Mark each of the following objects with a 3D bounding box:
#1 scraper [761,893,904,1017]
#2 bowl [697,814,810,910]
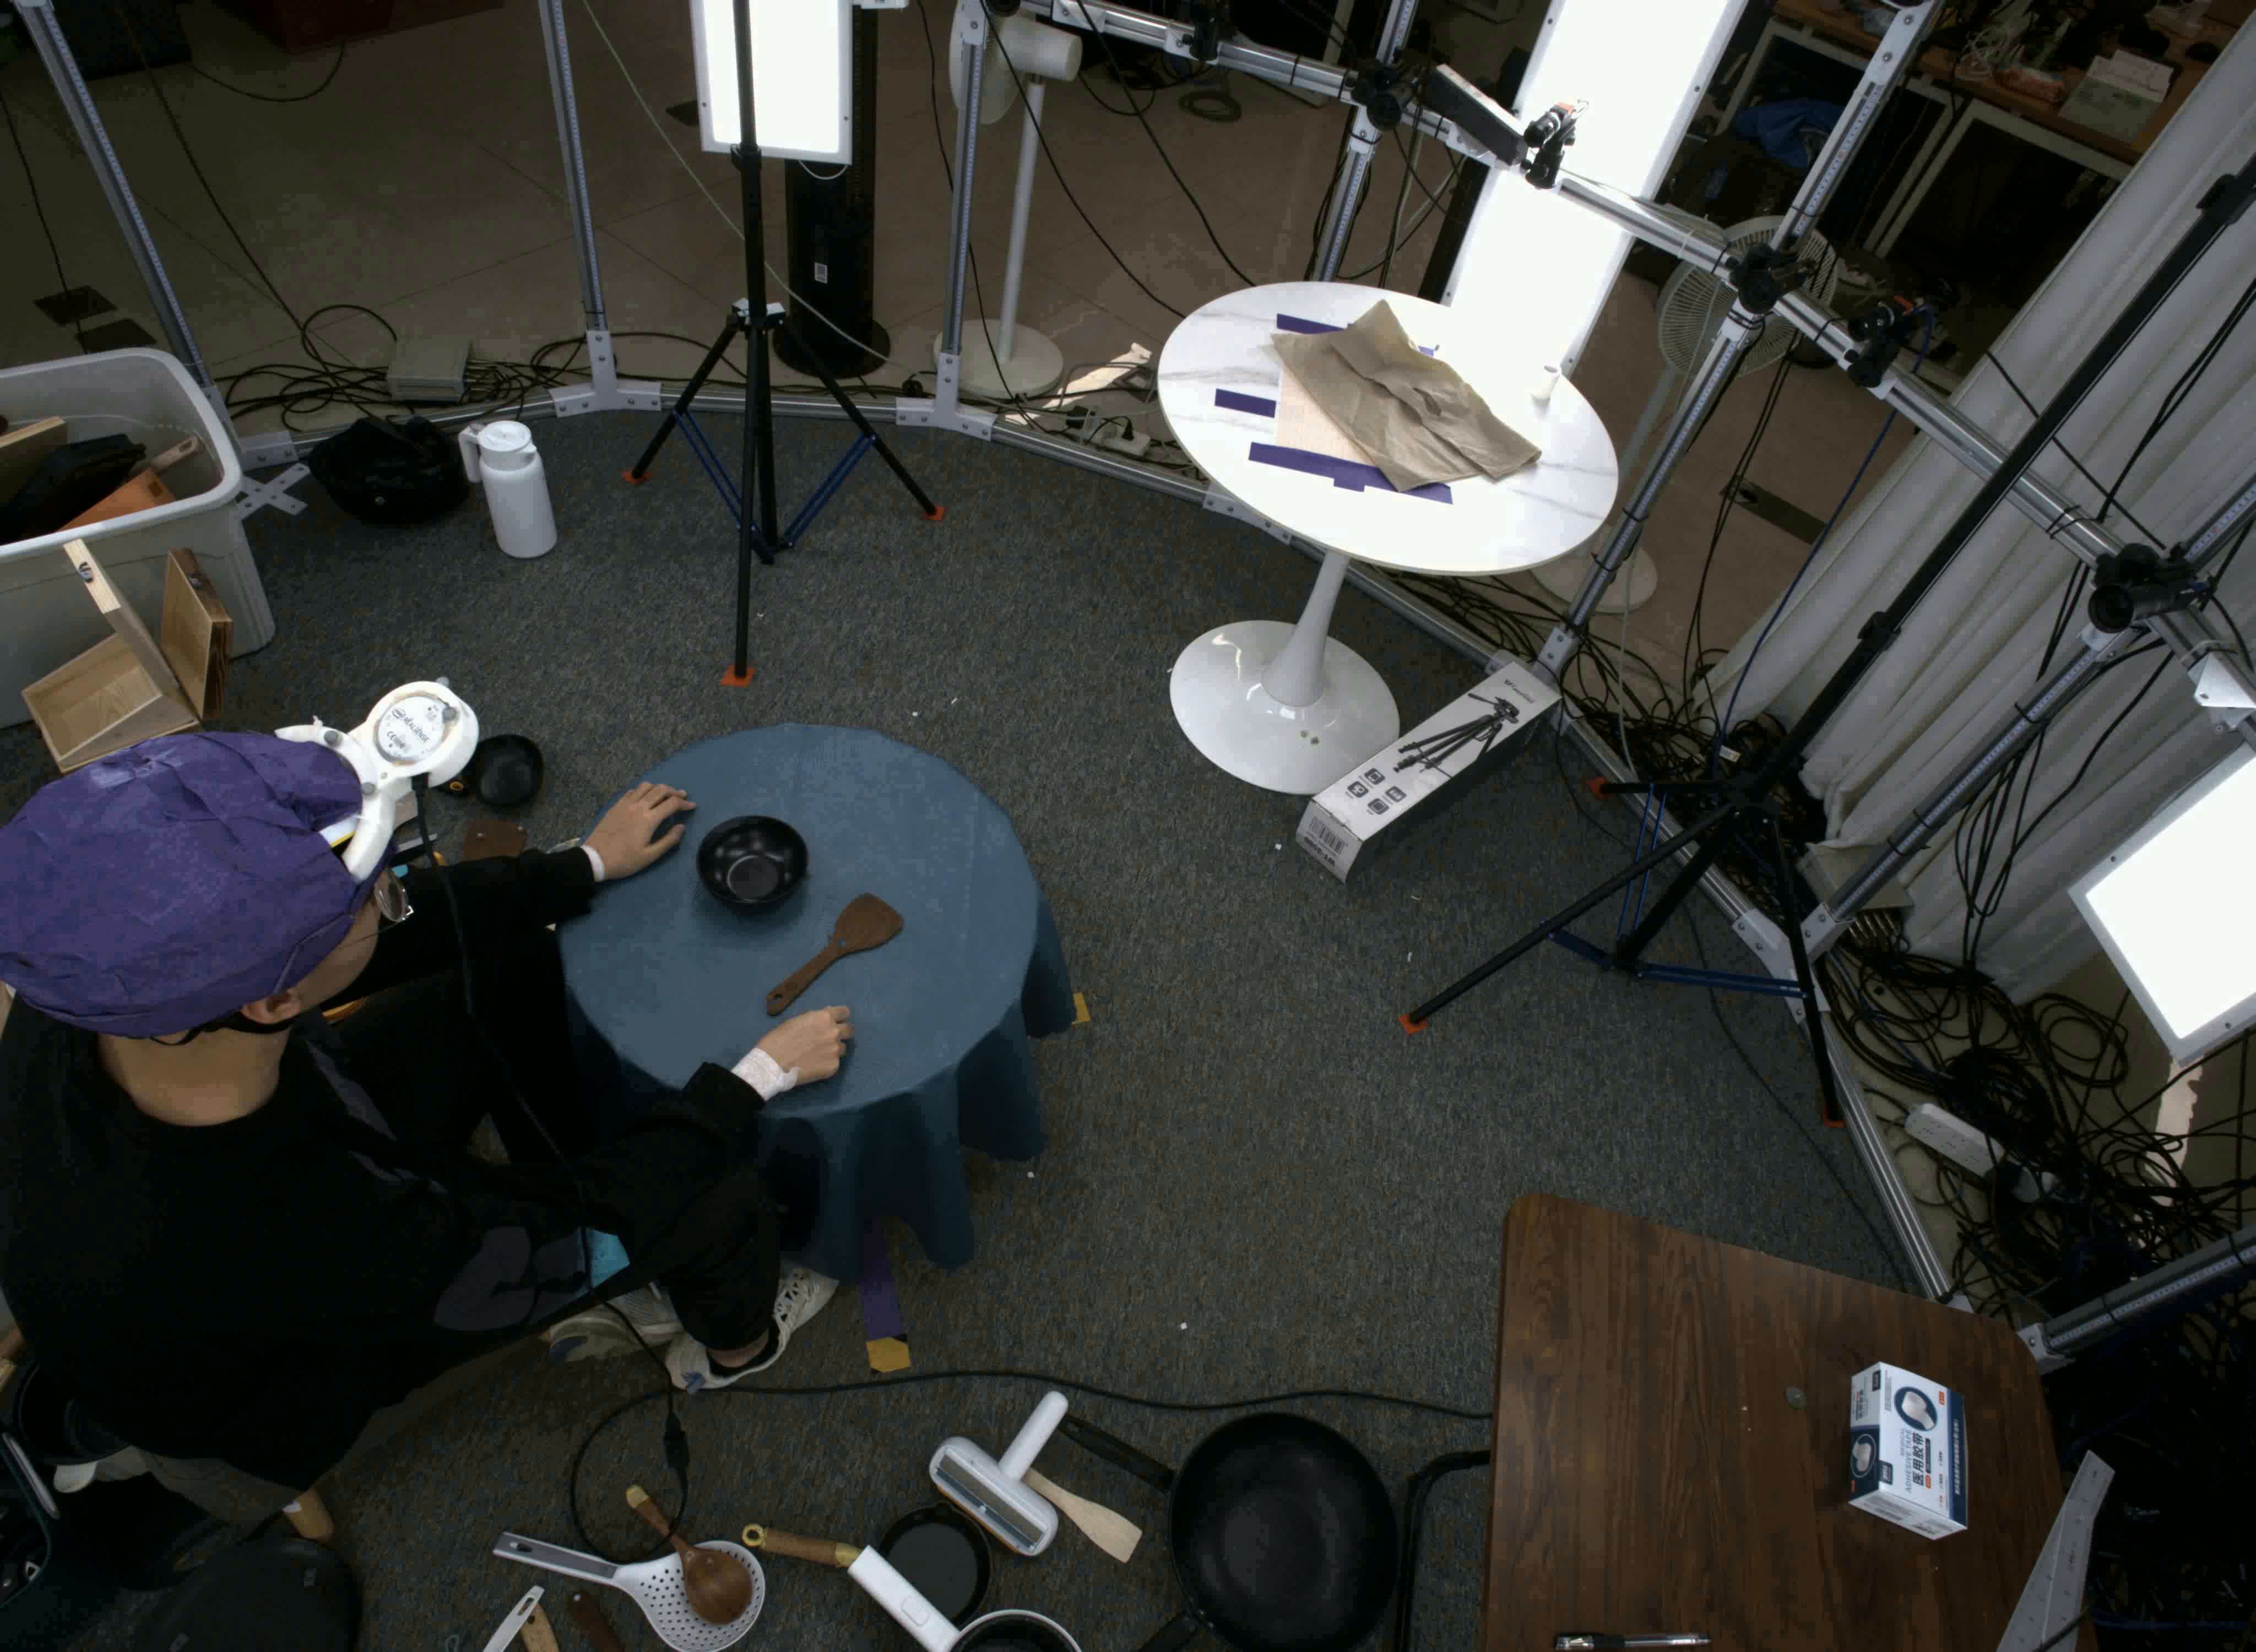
[{"bbox_3d":[-0.373,0.161,1.617,0.074,0.011,0.211,35,54,15],"label":"scraper"},{"bbox_3d":[-0.476,0.052,1.644,0.140,0.050,0.137,10,52,-11],"label":"bowl"}]
